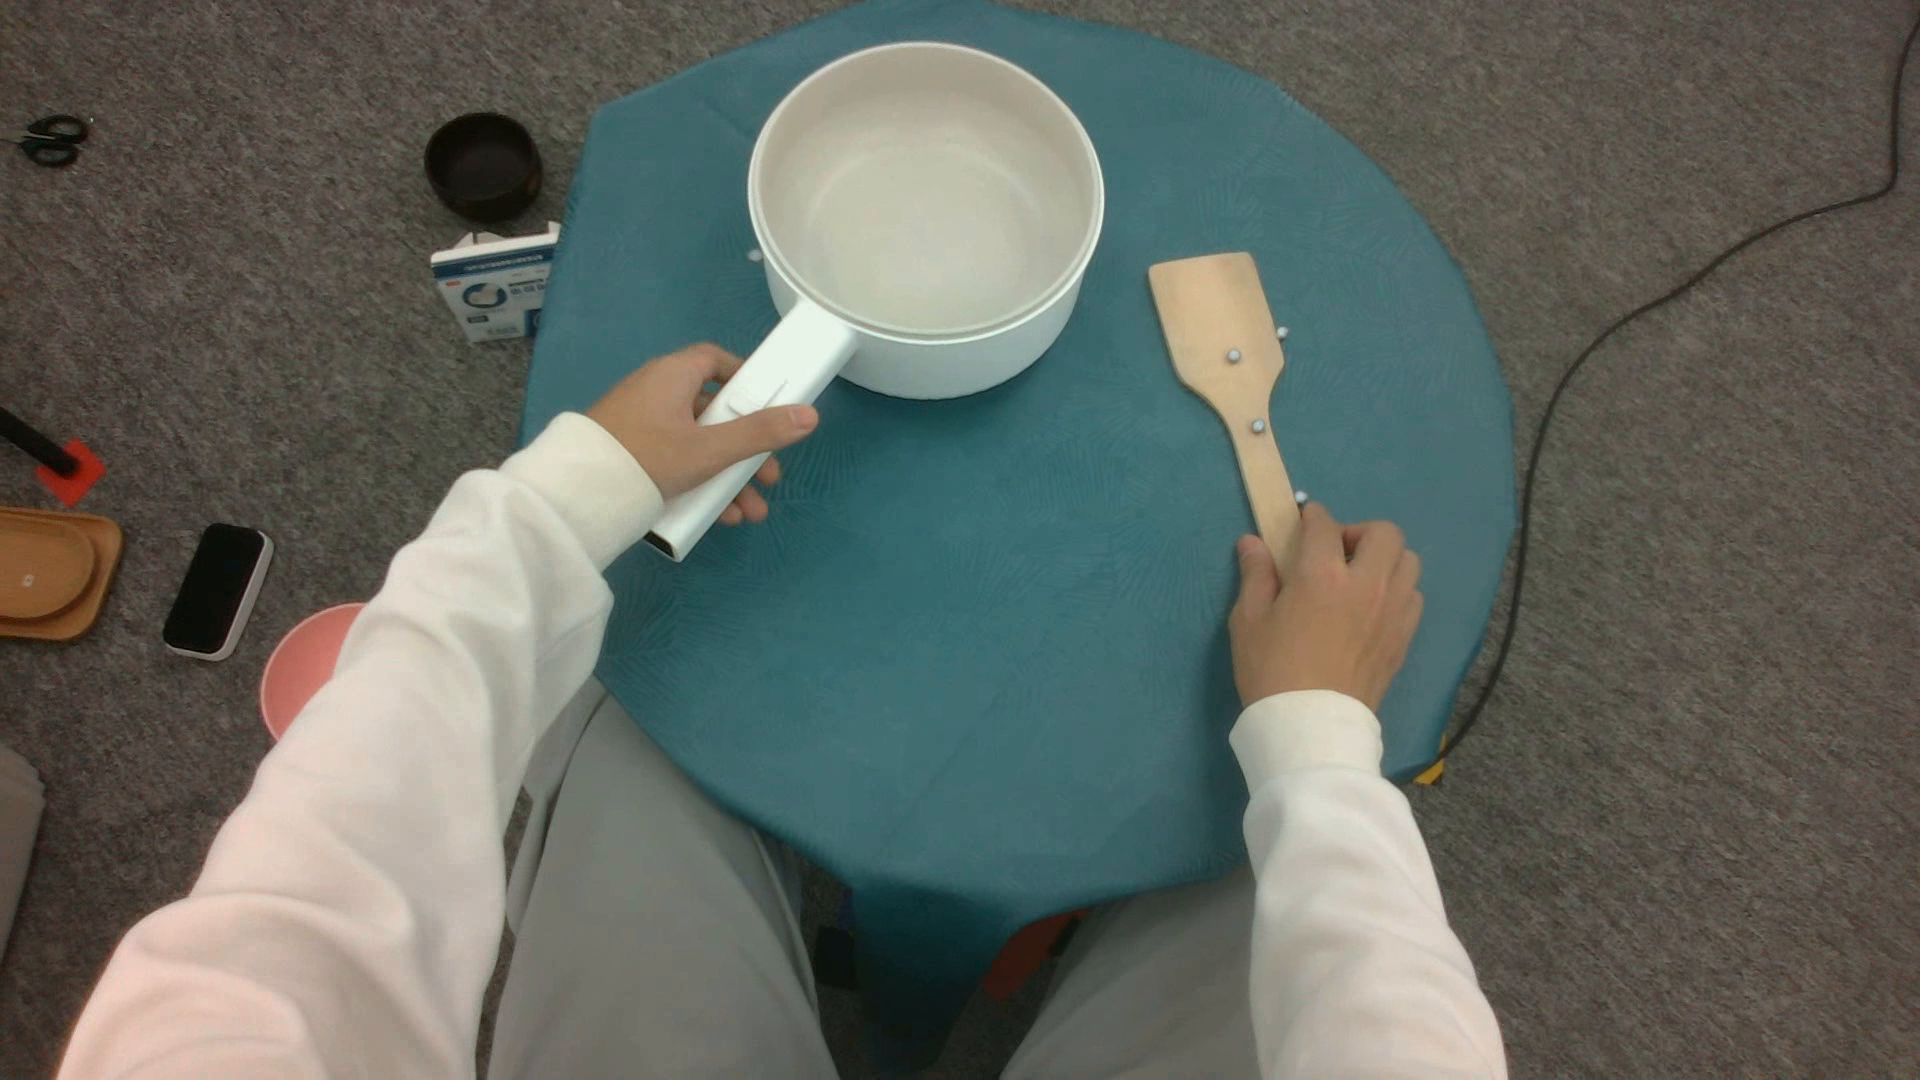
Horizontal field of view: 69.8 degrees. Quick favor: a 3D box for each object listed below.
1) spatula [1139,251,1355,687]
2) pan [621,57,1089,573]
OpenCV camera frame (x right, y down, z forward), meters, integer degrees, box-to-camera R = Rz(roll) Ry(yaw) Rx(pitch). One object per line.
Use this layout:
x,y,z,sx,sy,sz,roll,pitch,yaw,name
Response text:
0.181,-0.049,0.836,0.072,0.010,0.294,-12,68,-8,spatula
-0.067,-0.120,0.806,0.201,0.102,0.356,30,70,10,pan
